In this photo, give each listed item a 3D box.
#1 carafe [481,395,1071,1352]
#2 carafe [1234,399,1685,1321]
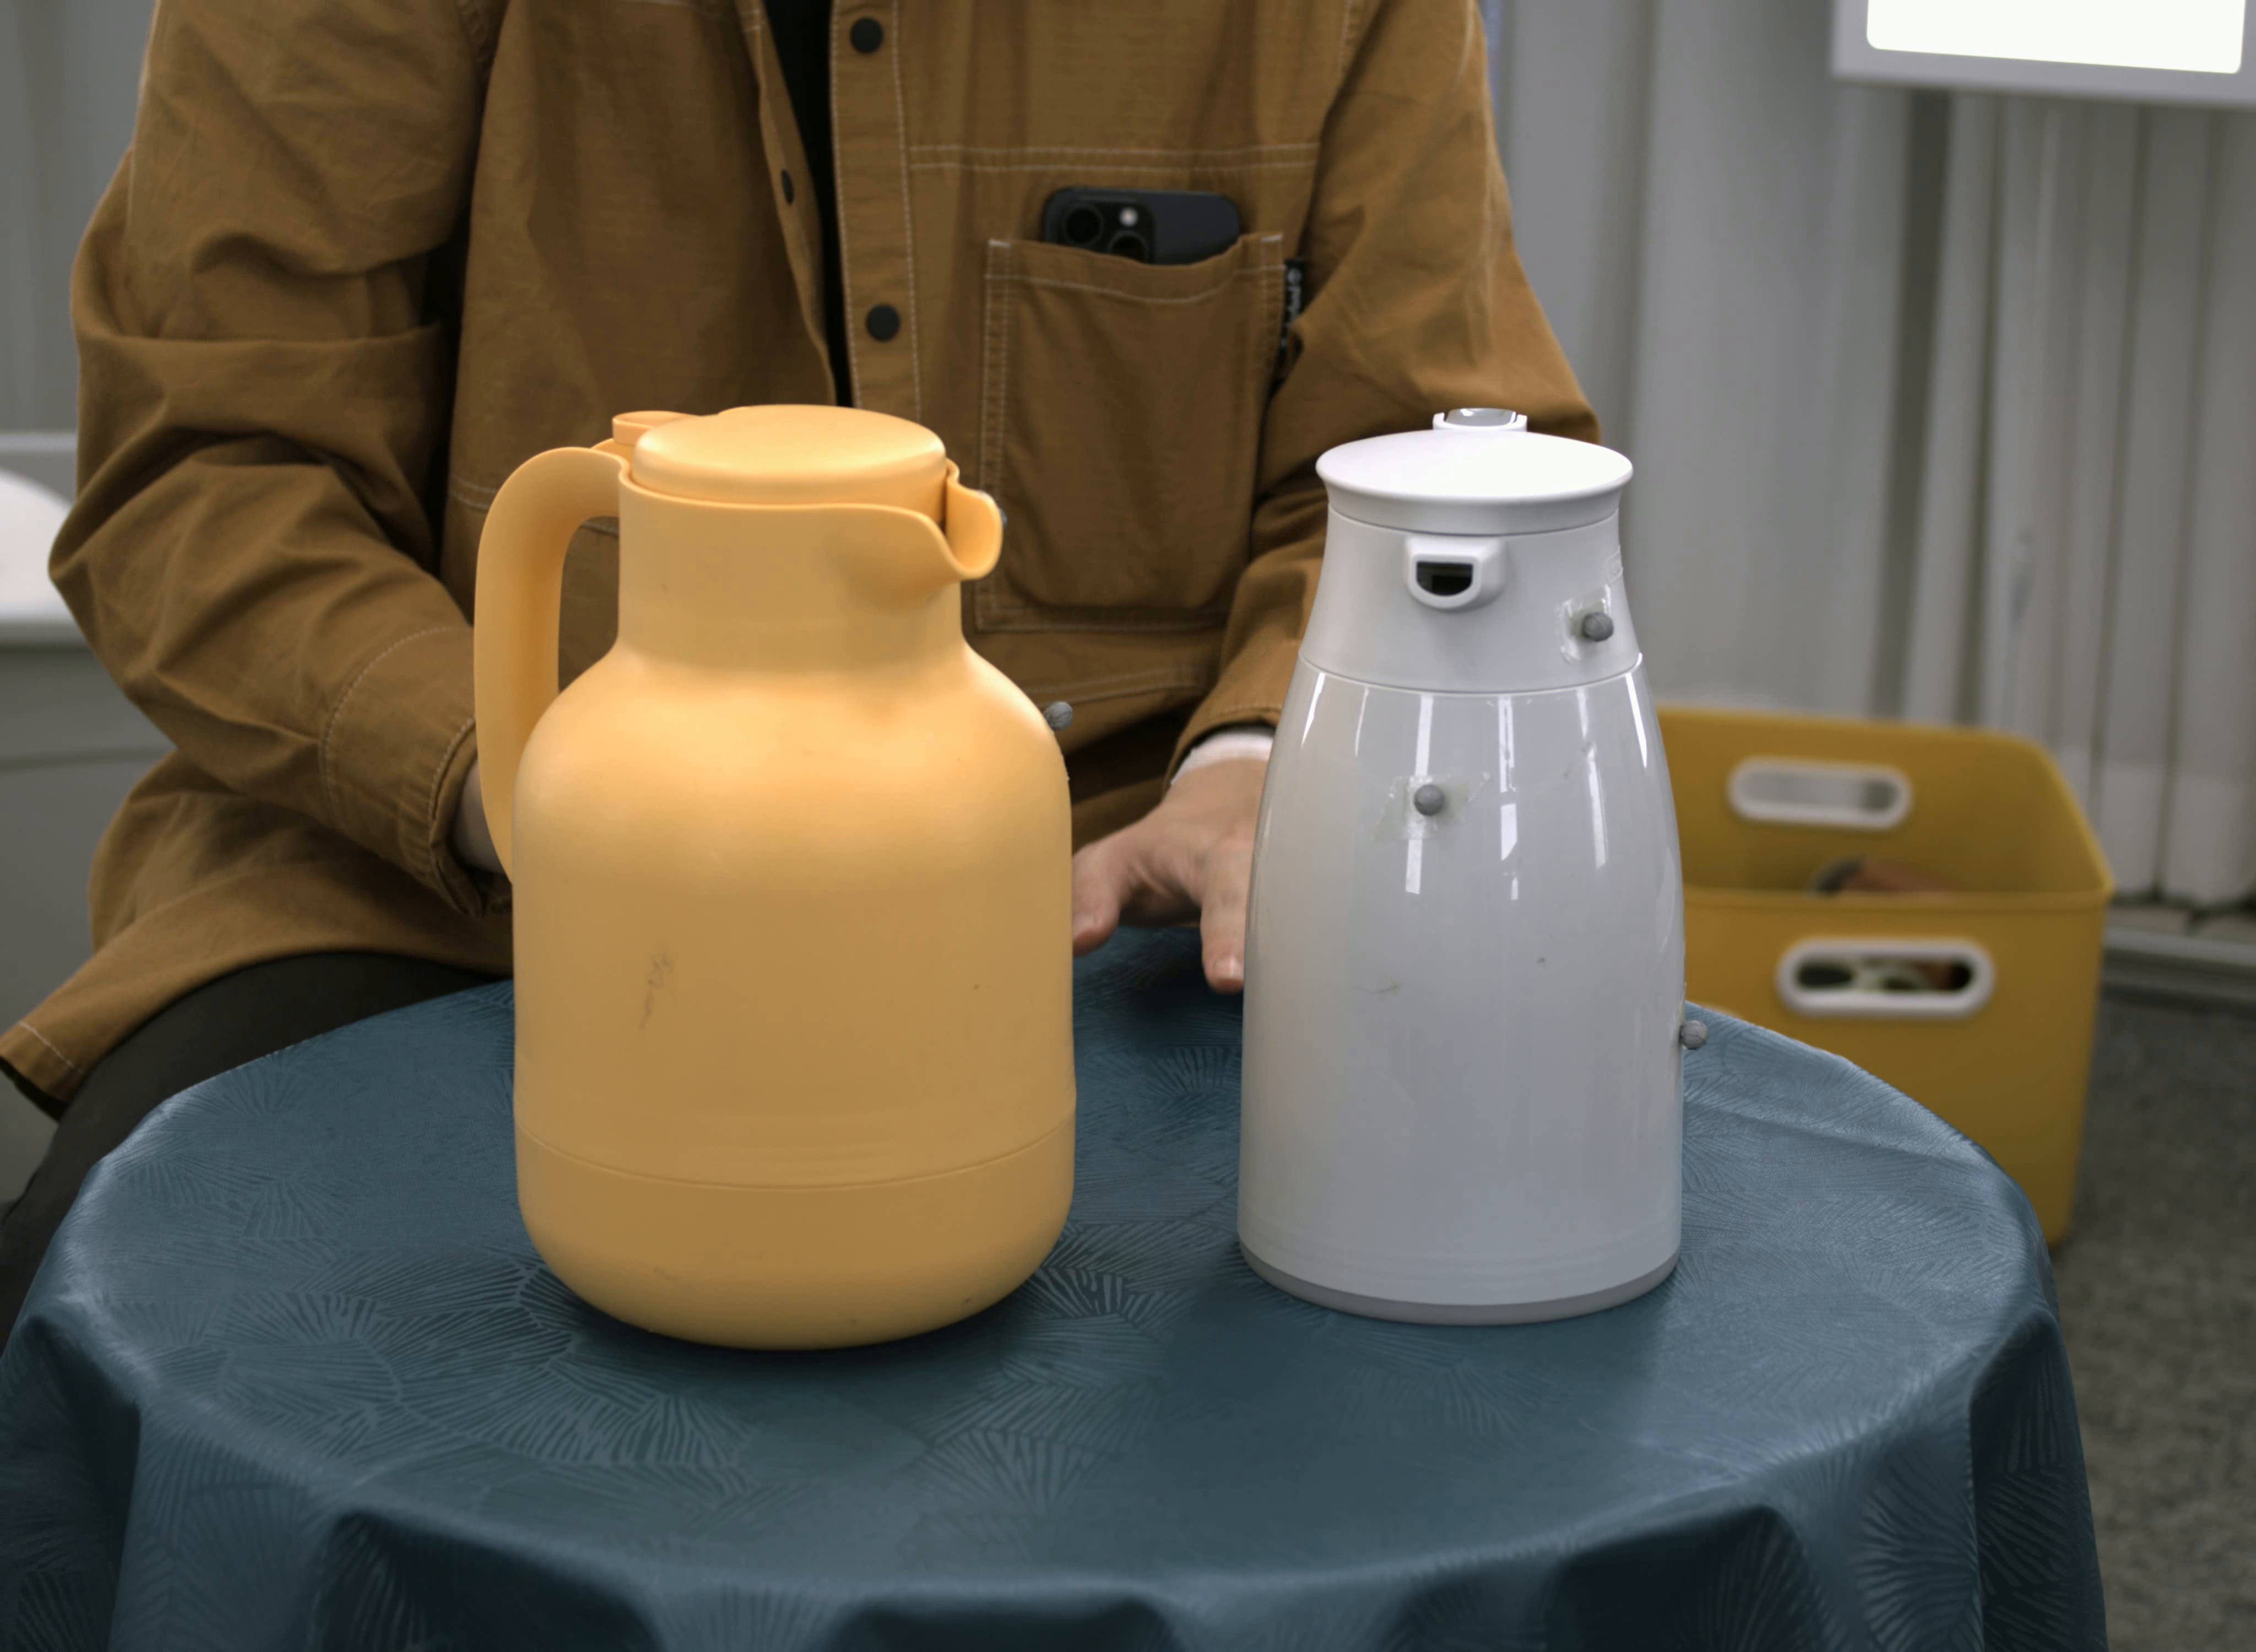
[{"bbox_3d":[-0.109,0.005,1.517,0.199,0.262,0.164,16,20,40],"label":"carafe"},{"bbox_3d":[0.101,0.001,1.558,0.131,0.250,0.167,3,16,9],"label":"carafe"}]
